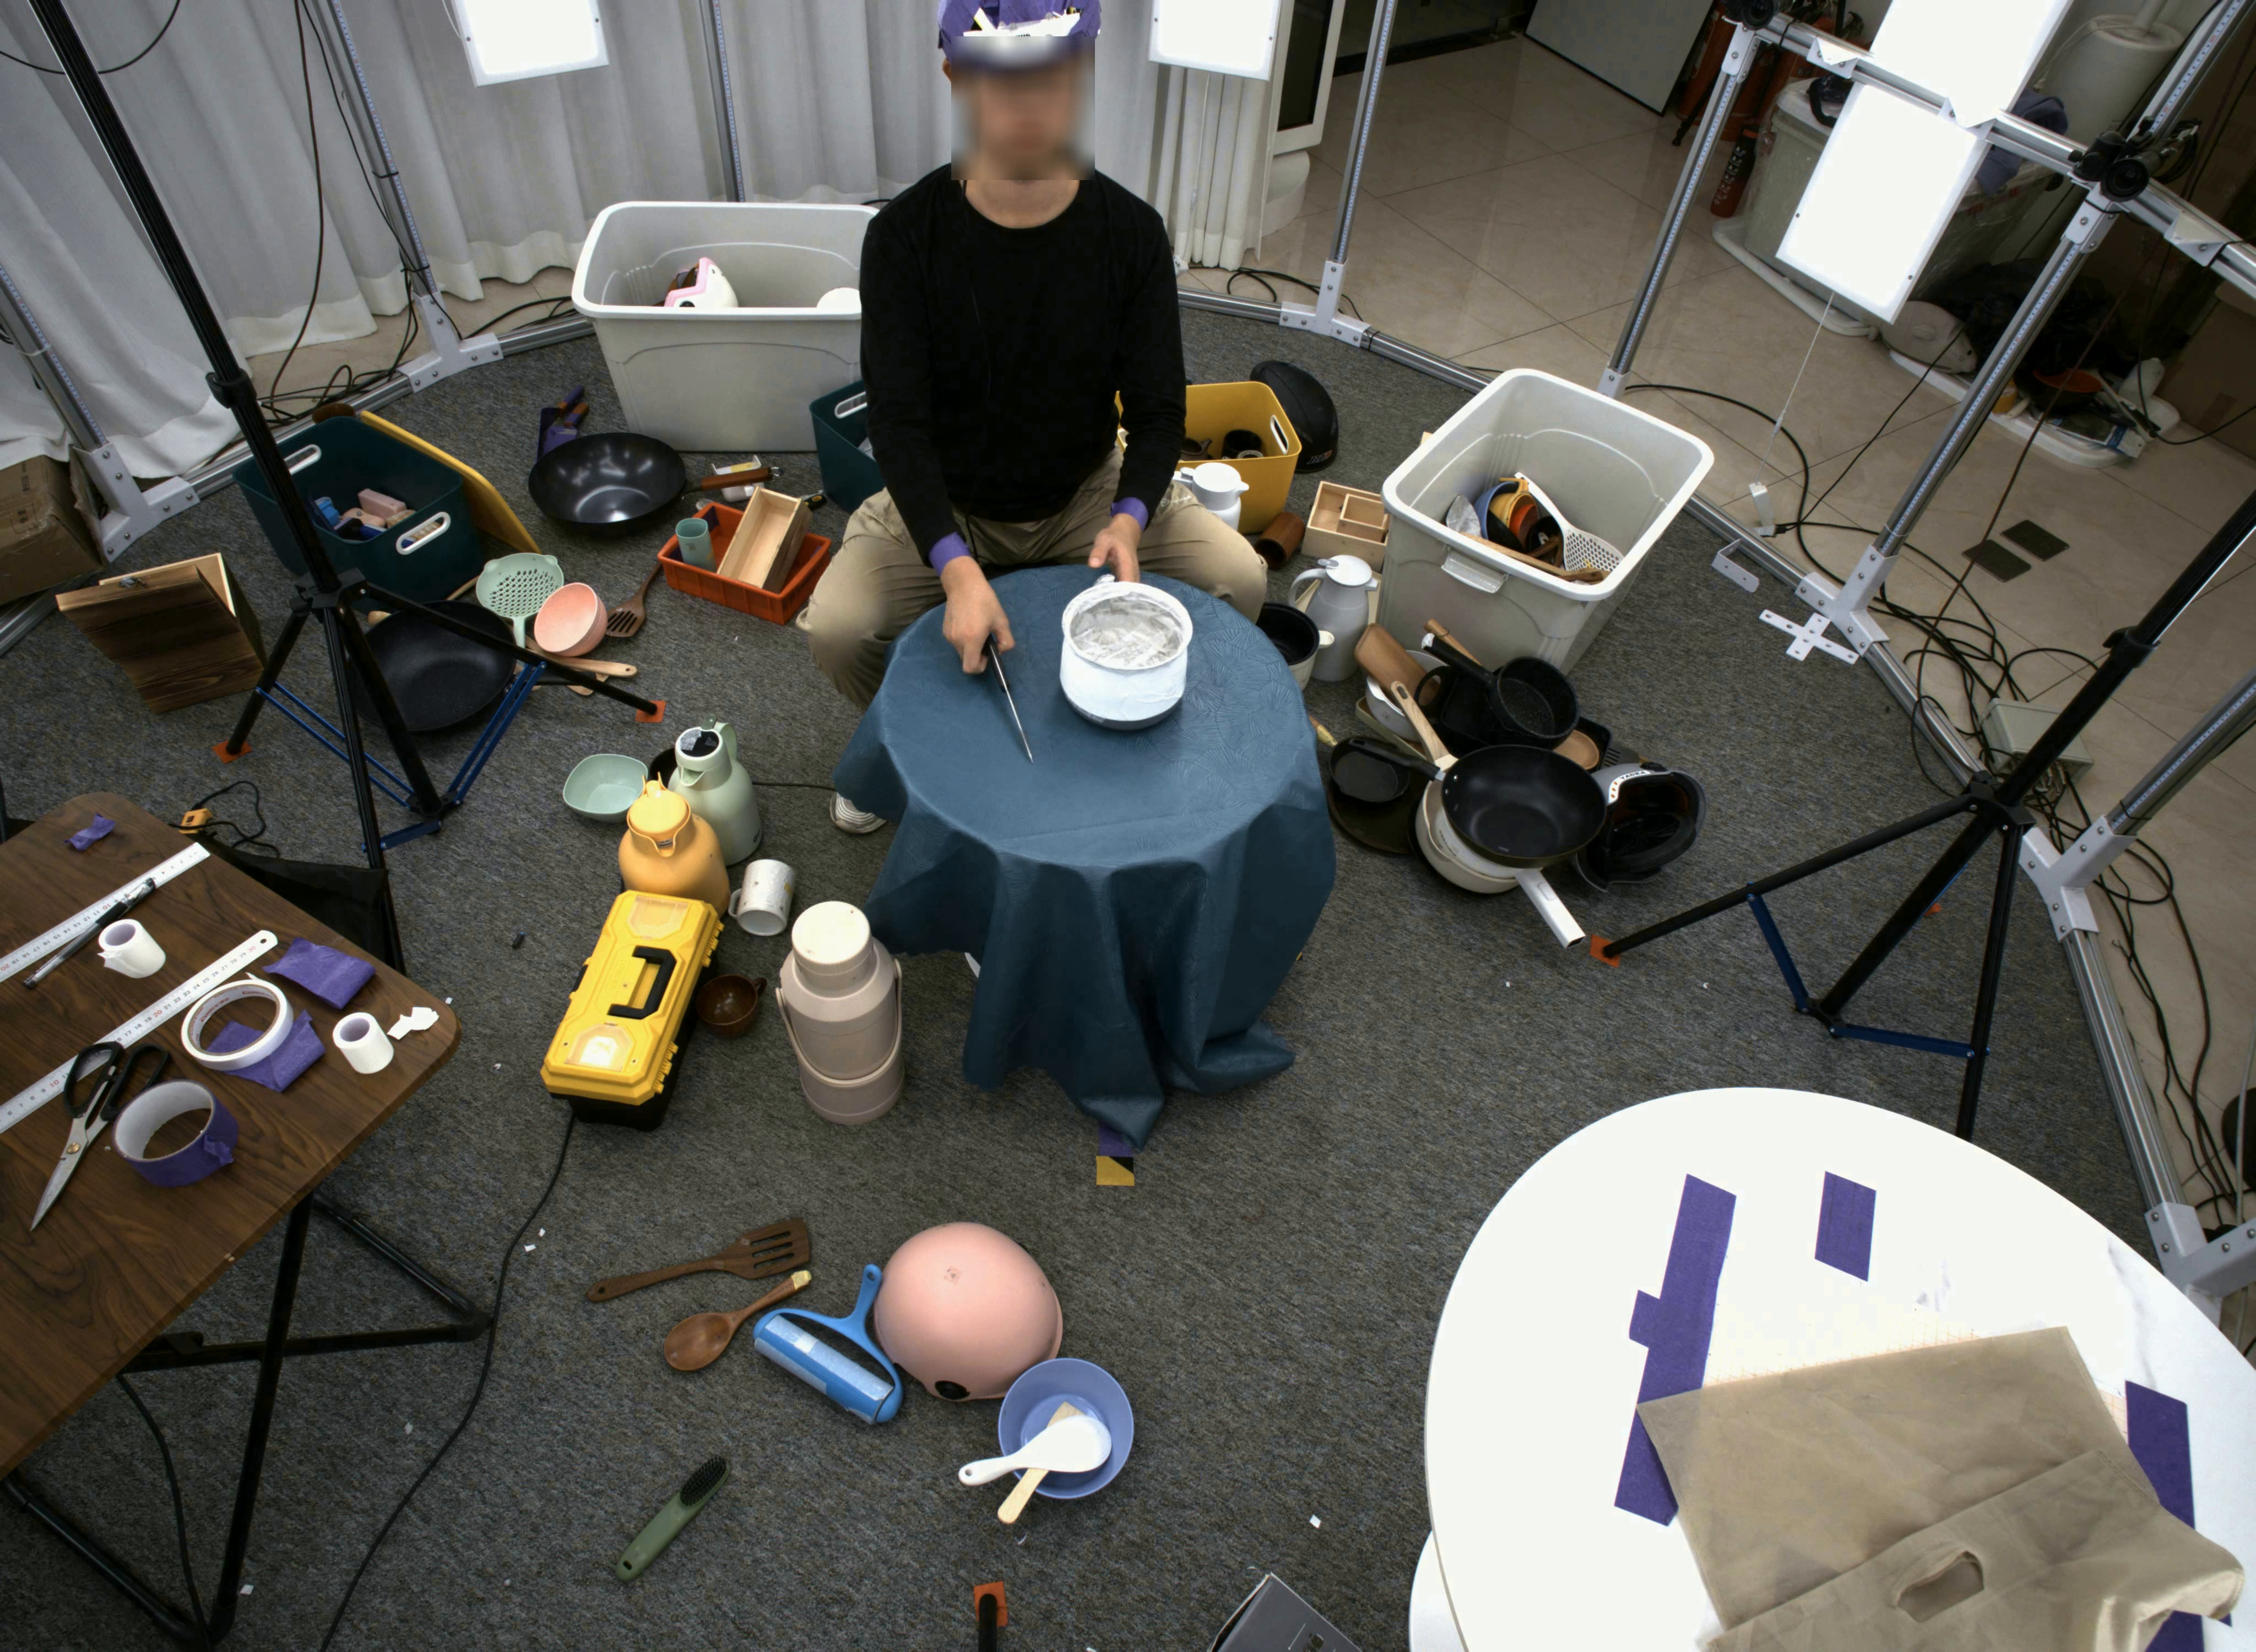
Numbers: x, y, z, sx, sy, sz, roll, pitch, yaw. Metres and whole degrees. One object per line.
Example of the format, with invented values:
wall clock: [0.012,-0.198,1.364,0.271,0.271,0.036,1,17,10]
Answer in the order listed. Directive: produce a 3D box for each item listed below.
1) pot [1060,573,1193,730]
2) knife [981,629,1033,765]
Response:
pot: [-0.013,-0.254,1.797,0.178,0.133,0.239,-10,52,-13]
knife: [-0.168,-0.184,1.789,0.016,0.024,0.243,-21,62,0]
